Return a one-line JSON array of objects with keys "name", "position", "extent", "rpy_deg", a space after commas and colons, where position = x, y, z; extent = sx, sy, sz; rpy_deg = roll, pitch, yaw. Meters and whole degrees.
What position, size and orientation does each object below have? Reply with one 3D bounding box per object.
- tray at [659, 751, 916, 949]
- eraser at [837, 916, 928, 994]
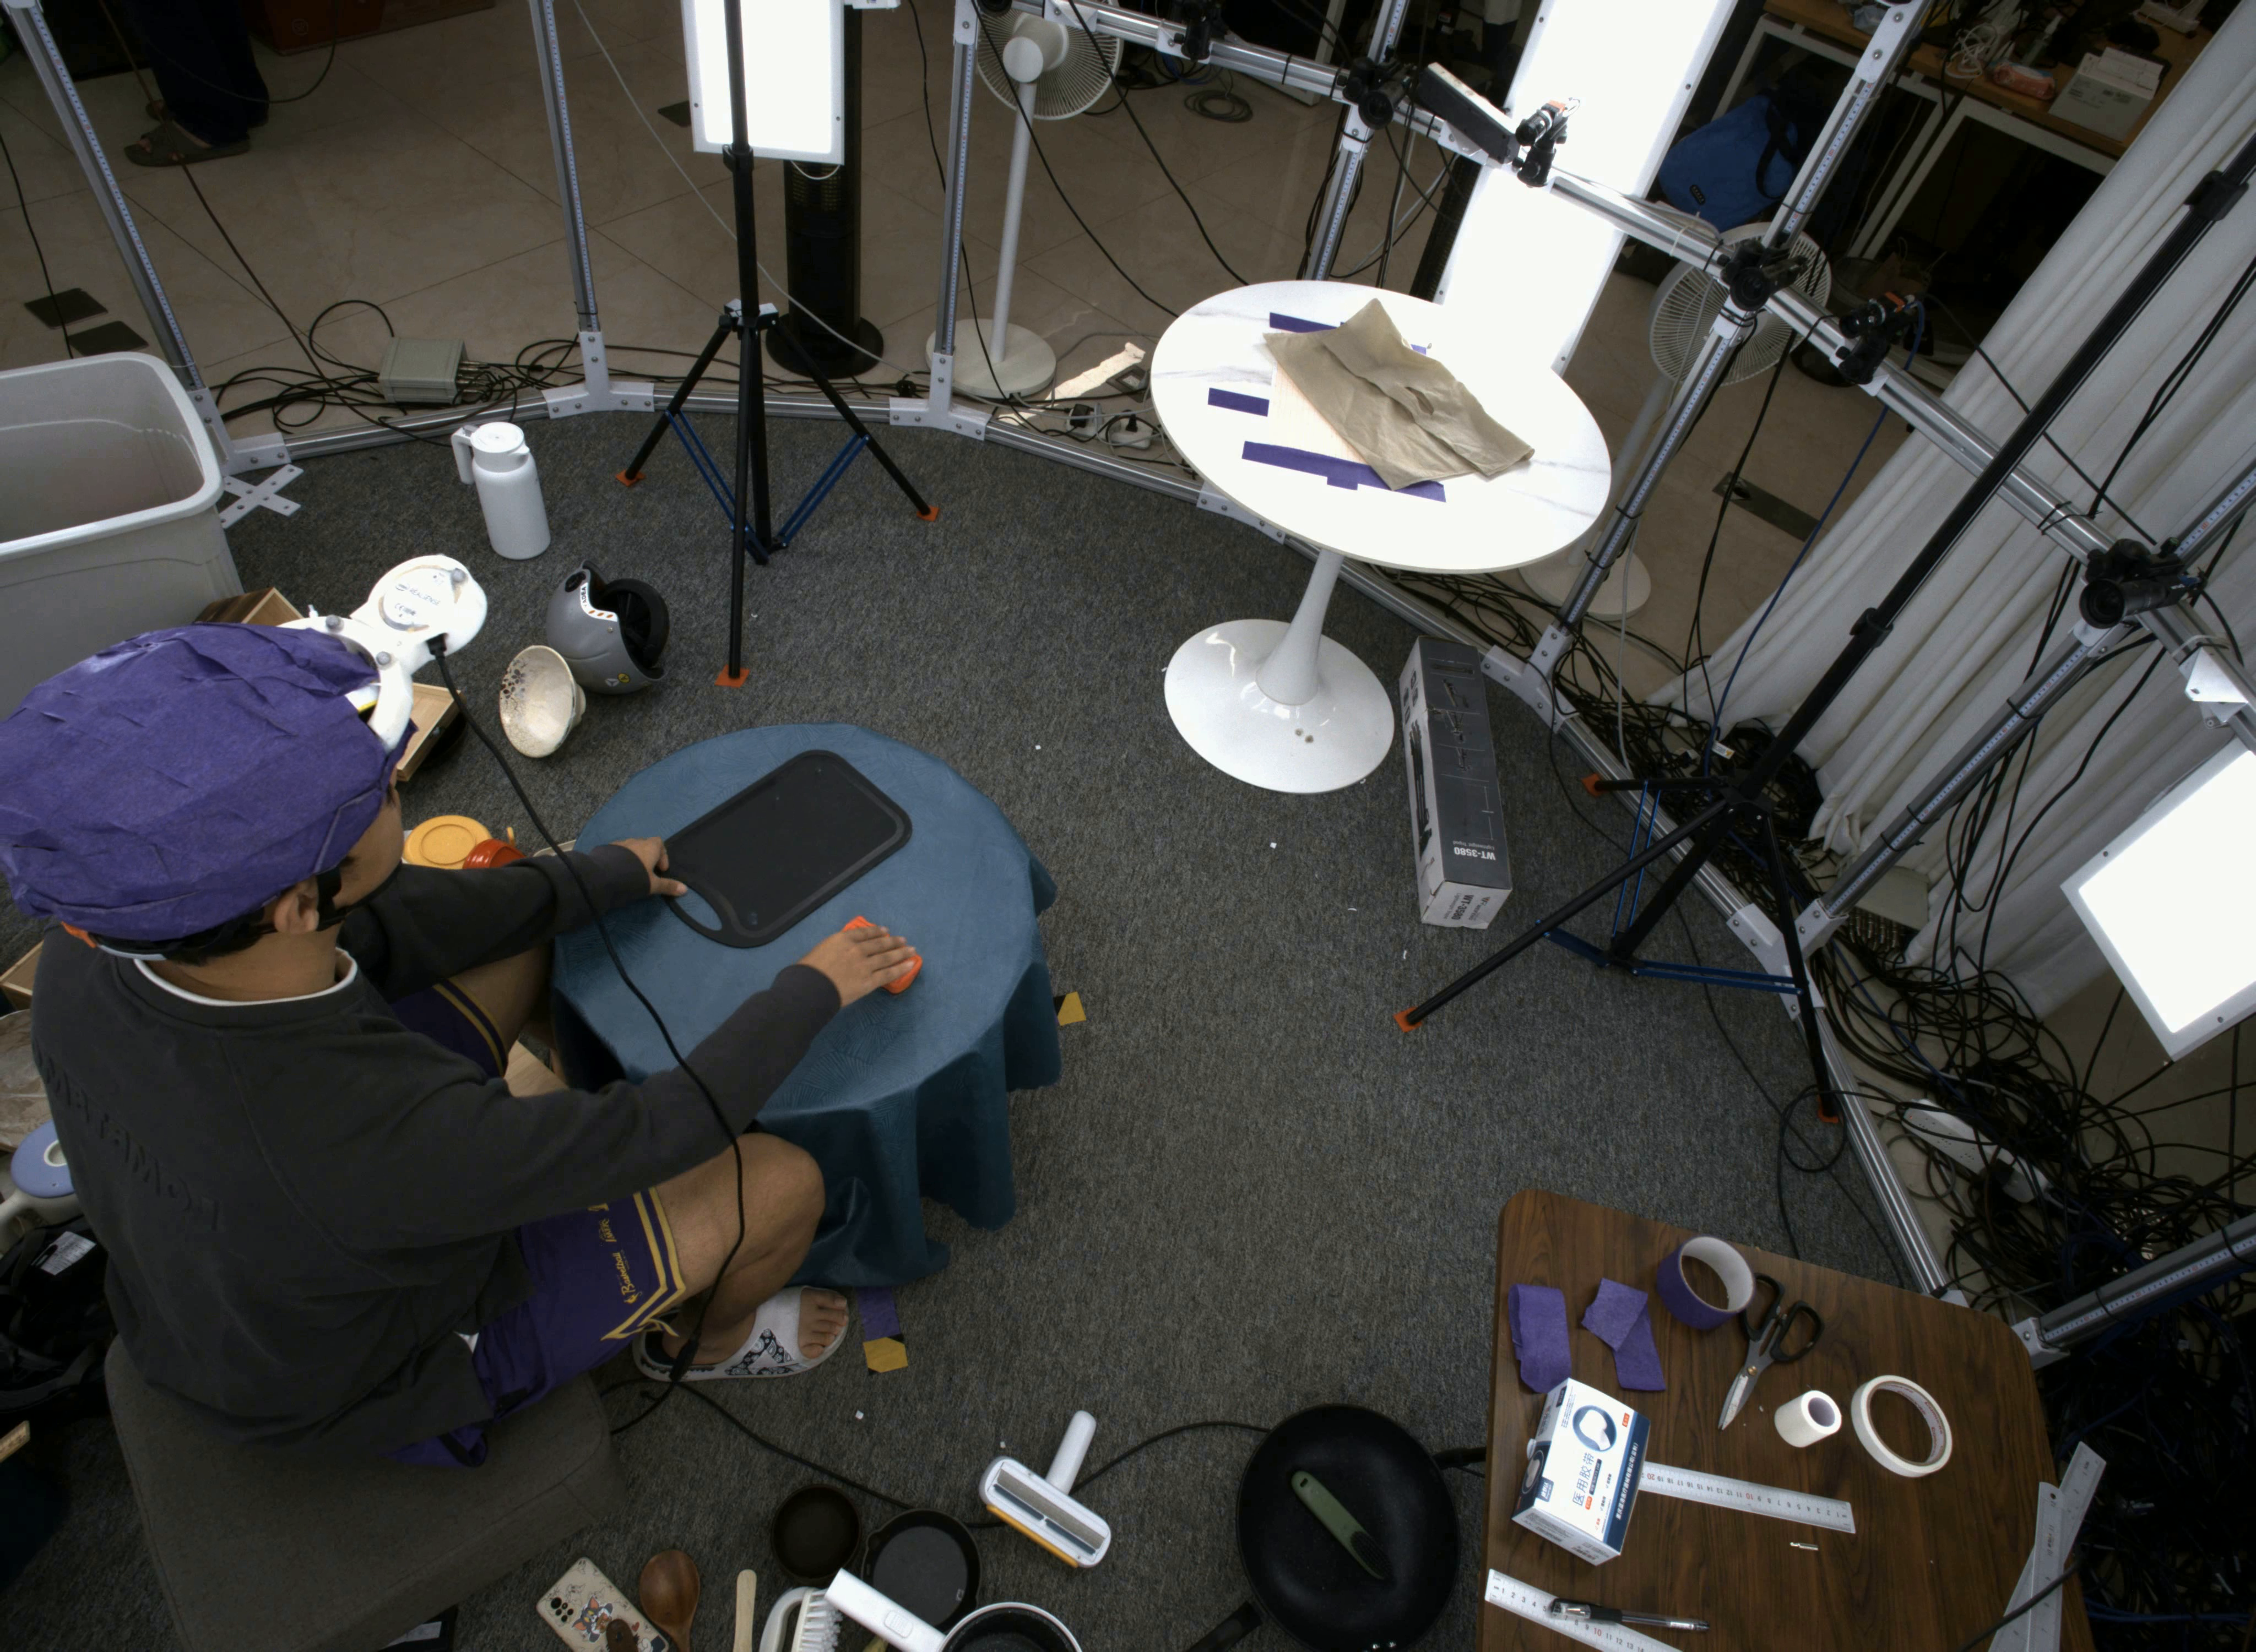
[{"name": "tray", "position": [-0.449, 0.027, 1.699], "extent": [0.206, 0.010, 0.326], "rpy_deg": [40, 55, 16]}, {"name": "eraser", "position": [-0.307, 0.158, 1.622], "extent": [0.106, 0.023, 0.059], "rpy_deg": [31, 51, 11]}]
